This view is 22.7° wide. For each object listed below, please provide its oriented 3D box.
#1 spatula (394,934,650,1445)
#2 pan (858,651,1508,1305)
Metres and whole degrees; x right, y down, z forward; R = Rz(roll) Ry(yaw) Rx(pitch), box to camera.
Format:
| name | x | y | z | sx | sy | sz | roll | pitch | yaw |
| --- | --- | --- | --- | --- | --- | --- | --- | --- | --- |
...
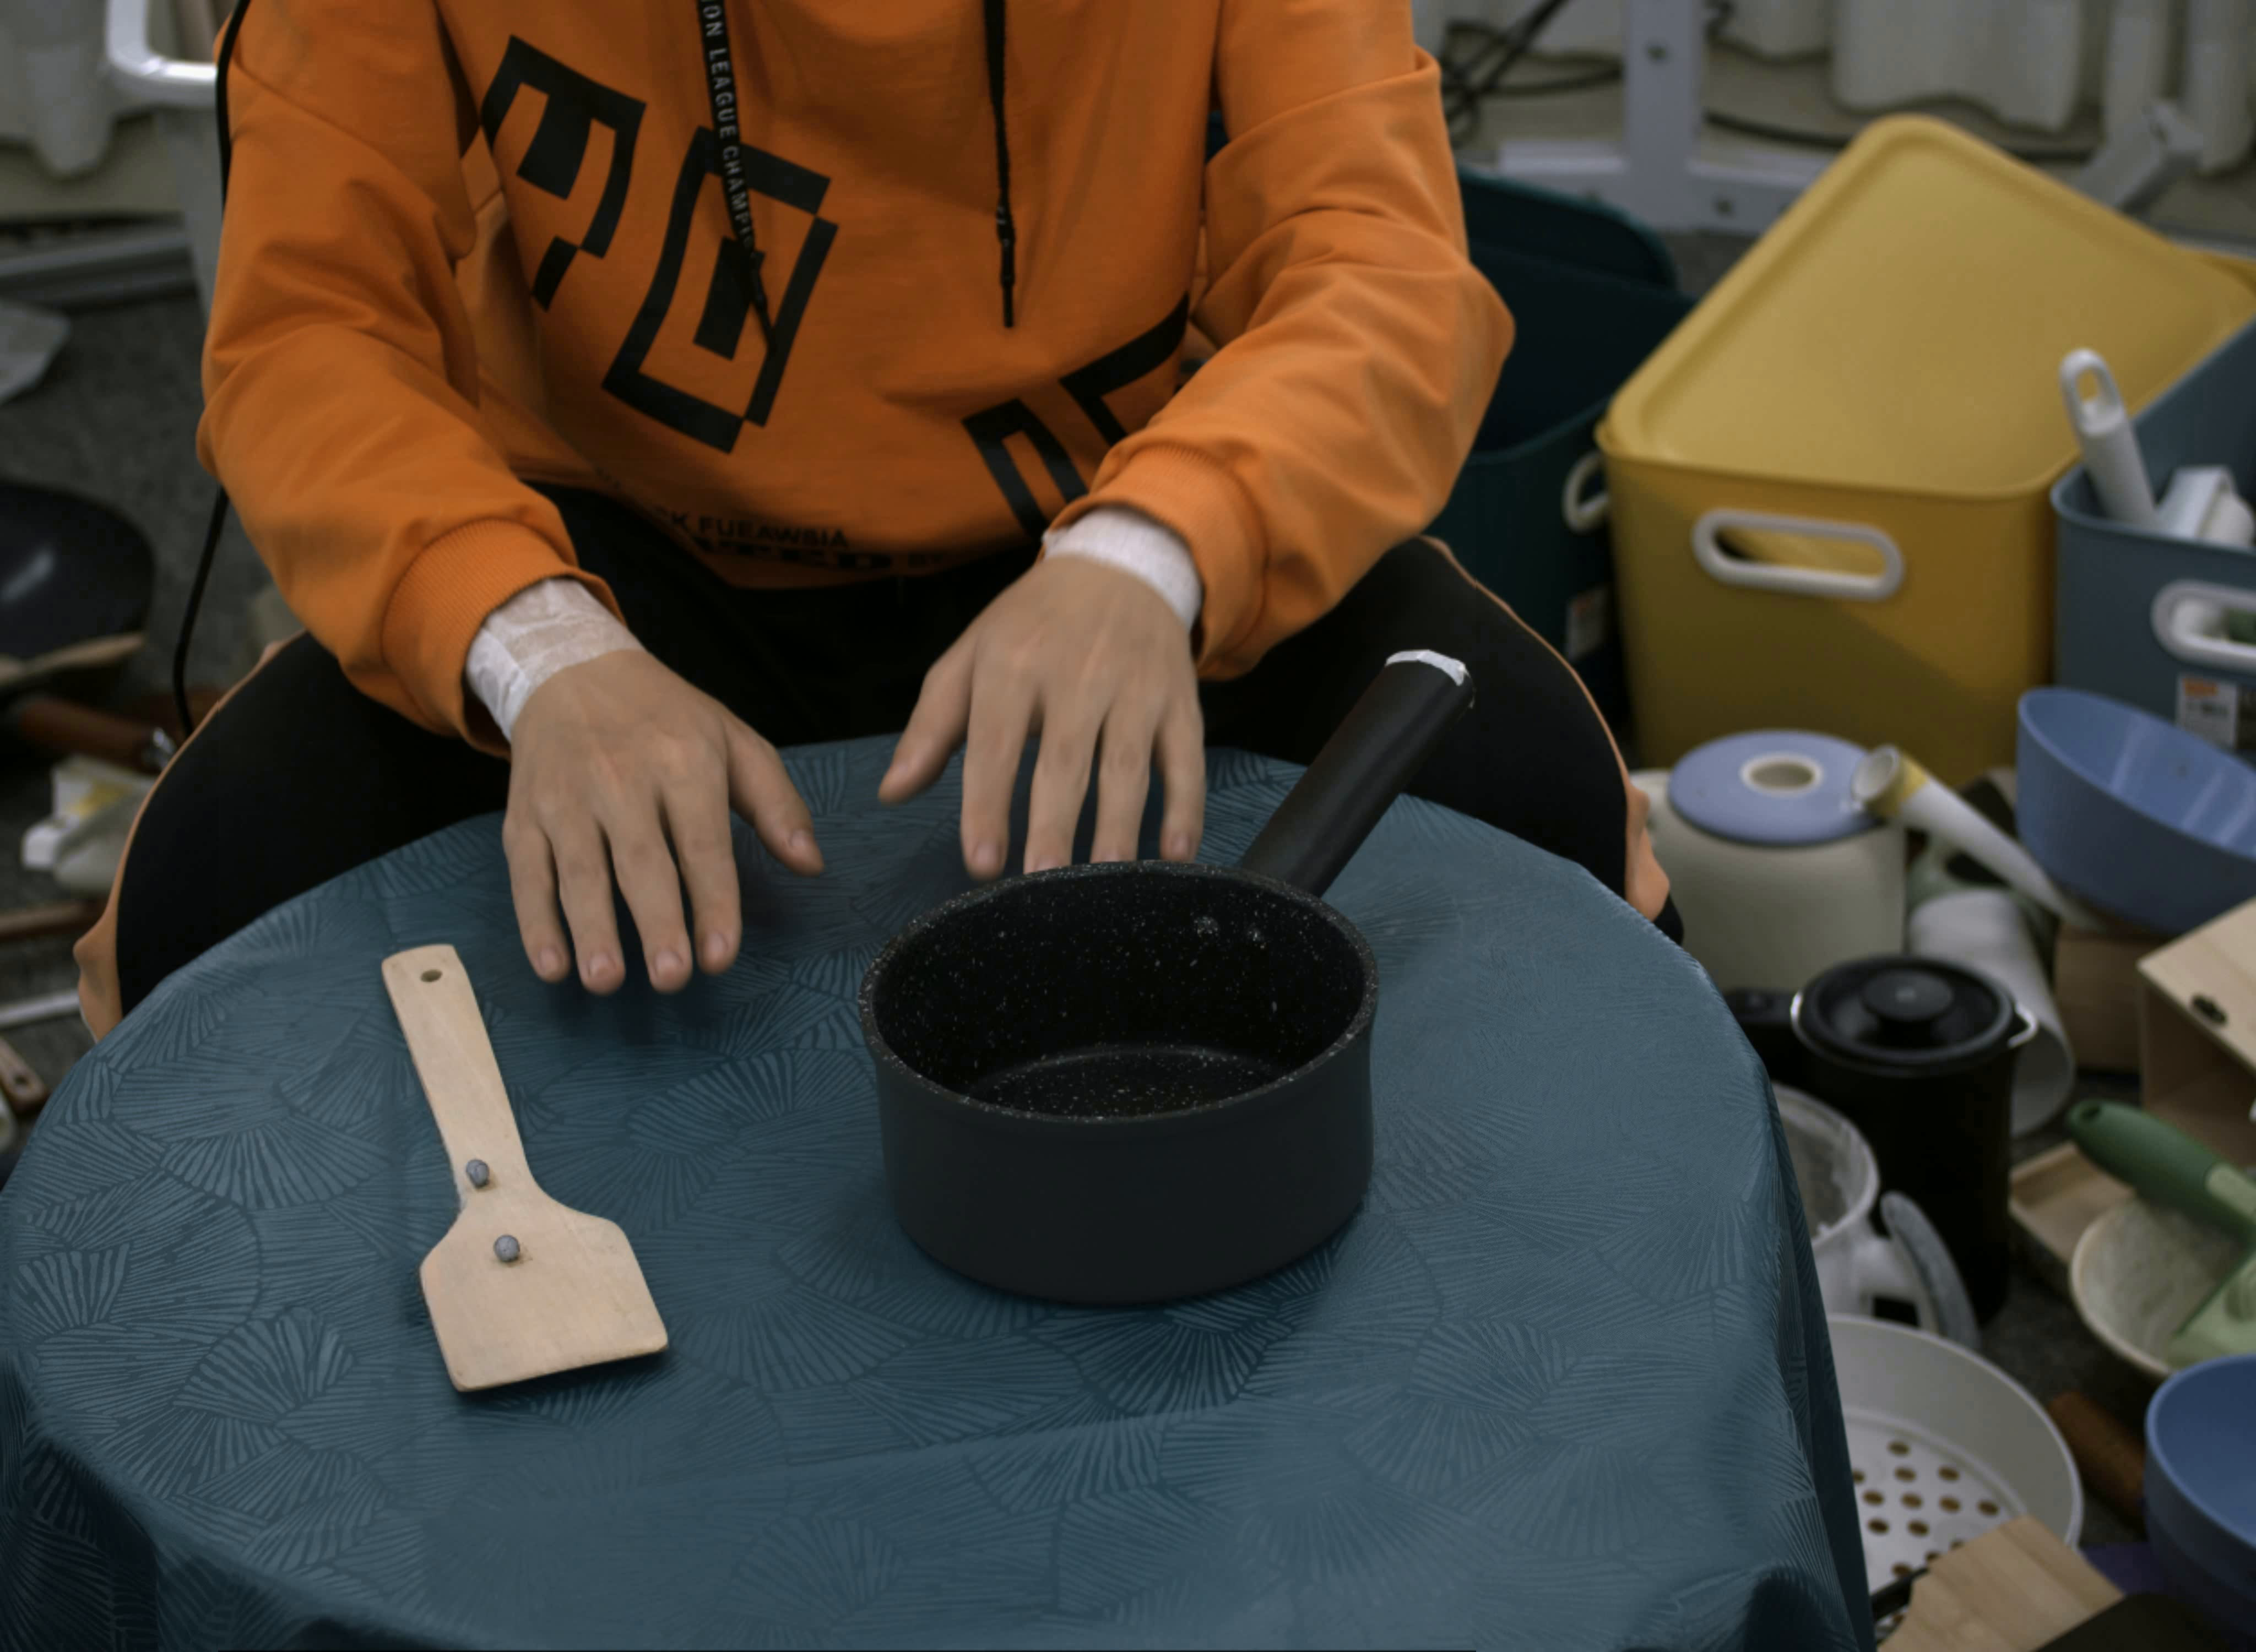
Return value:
| name | x | y | z | sx | sy | sz | roll | pitch | yaw |
| --- | --- | --- | --- | --- | --- | --- | --- | --- | --- |
| spatula | -0.220 | 0.118 | 1.908 | 0.072 | 0.010 | 0.297 | -16 | 33 | -6 |
| pan | 0.039 | 0.047 | 1.911 | 0.171 | 0.085 | 0.334 | 14 | 33 | 28 |
